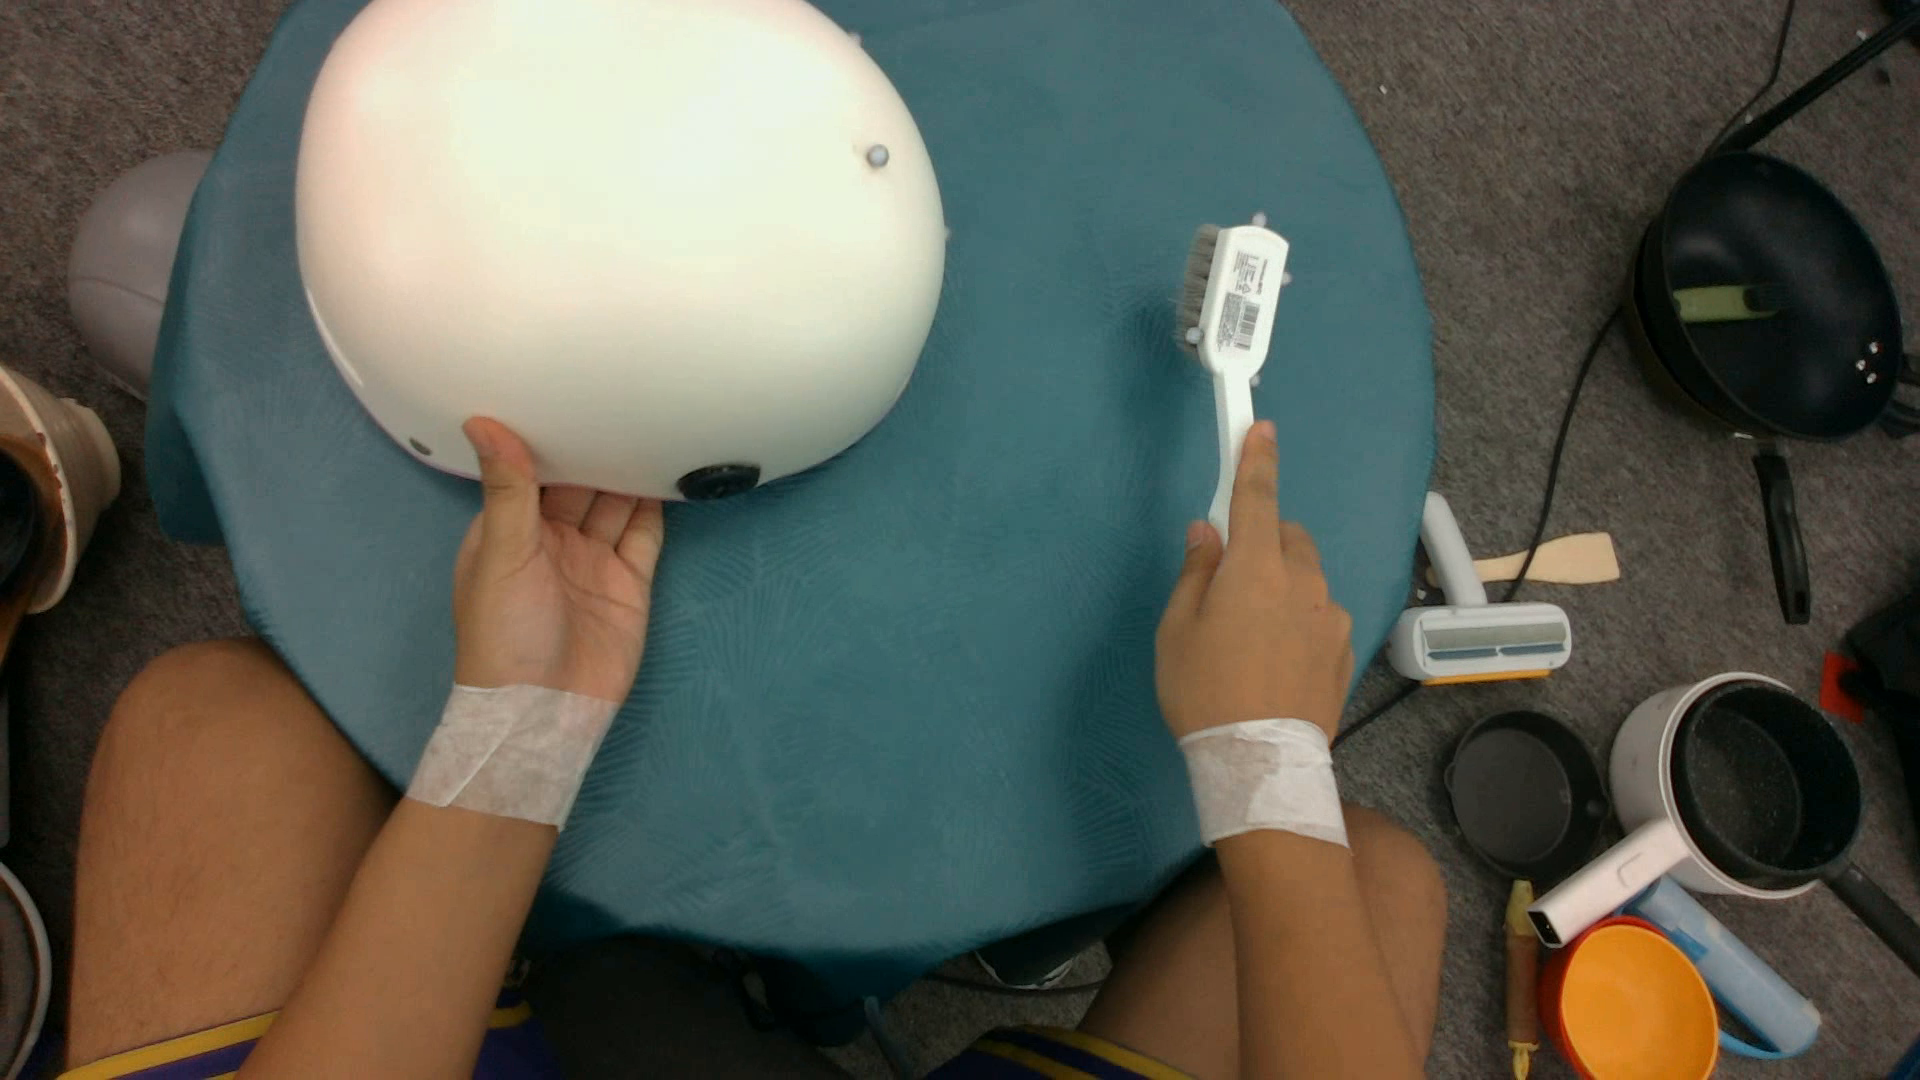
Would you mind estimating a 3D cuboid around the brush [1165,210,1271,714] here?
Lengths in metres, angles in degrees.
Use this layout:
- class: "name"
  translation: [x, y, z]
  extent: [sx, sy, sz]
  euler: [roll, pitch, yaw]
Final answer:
- class: "brush"
  translation: [0.117, -0.041, 0.634]
  extent: [0.034, 0.050, 0.244]
  euler: [7, 77, -20]

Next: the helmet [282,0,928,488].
- class: "helmet"
  translation: [-0.136, -0.146, 0.563]
  extent: [0.269, 0.166, 0.237]
  euler: [-2, 77, -15]
